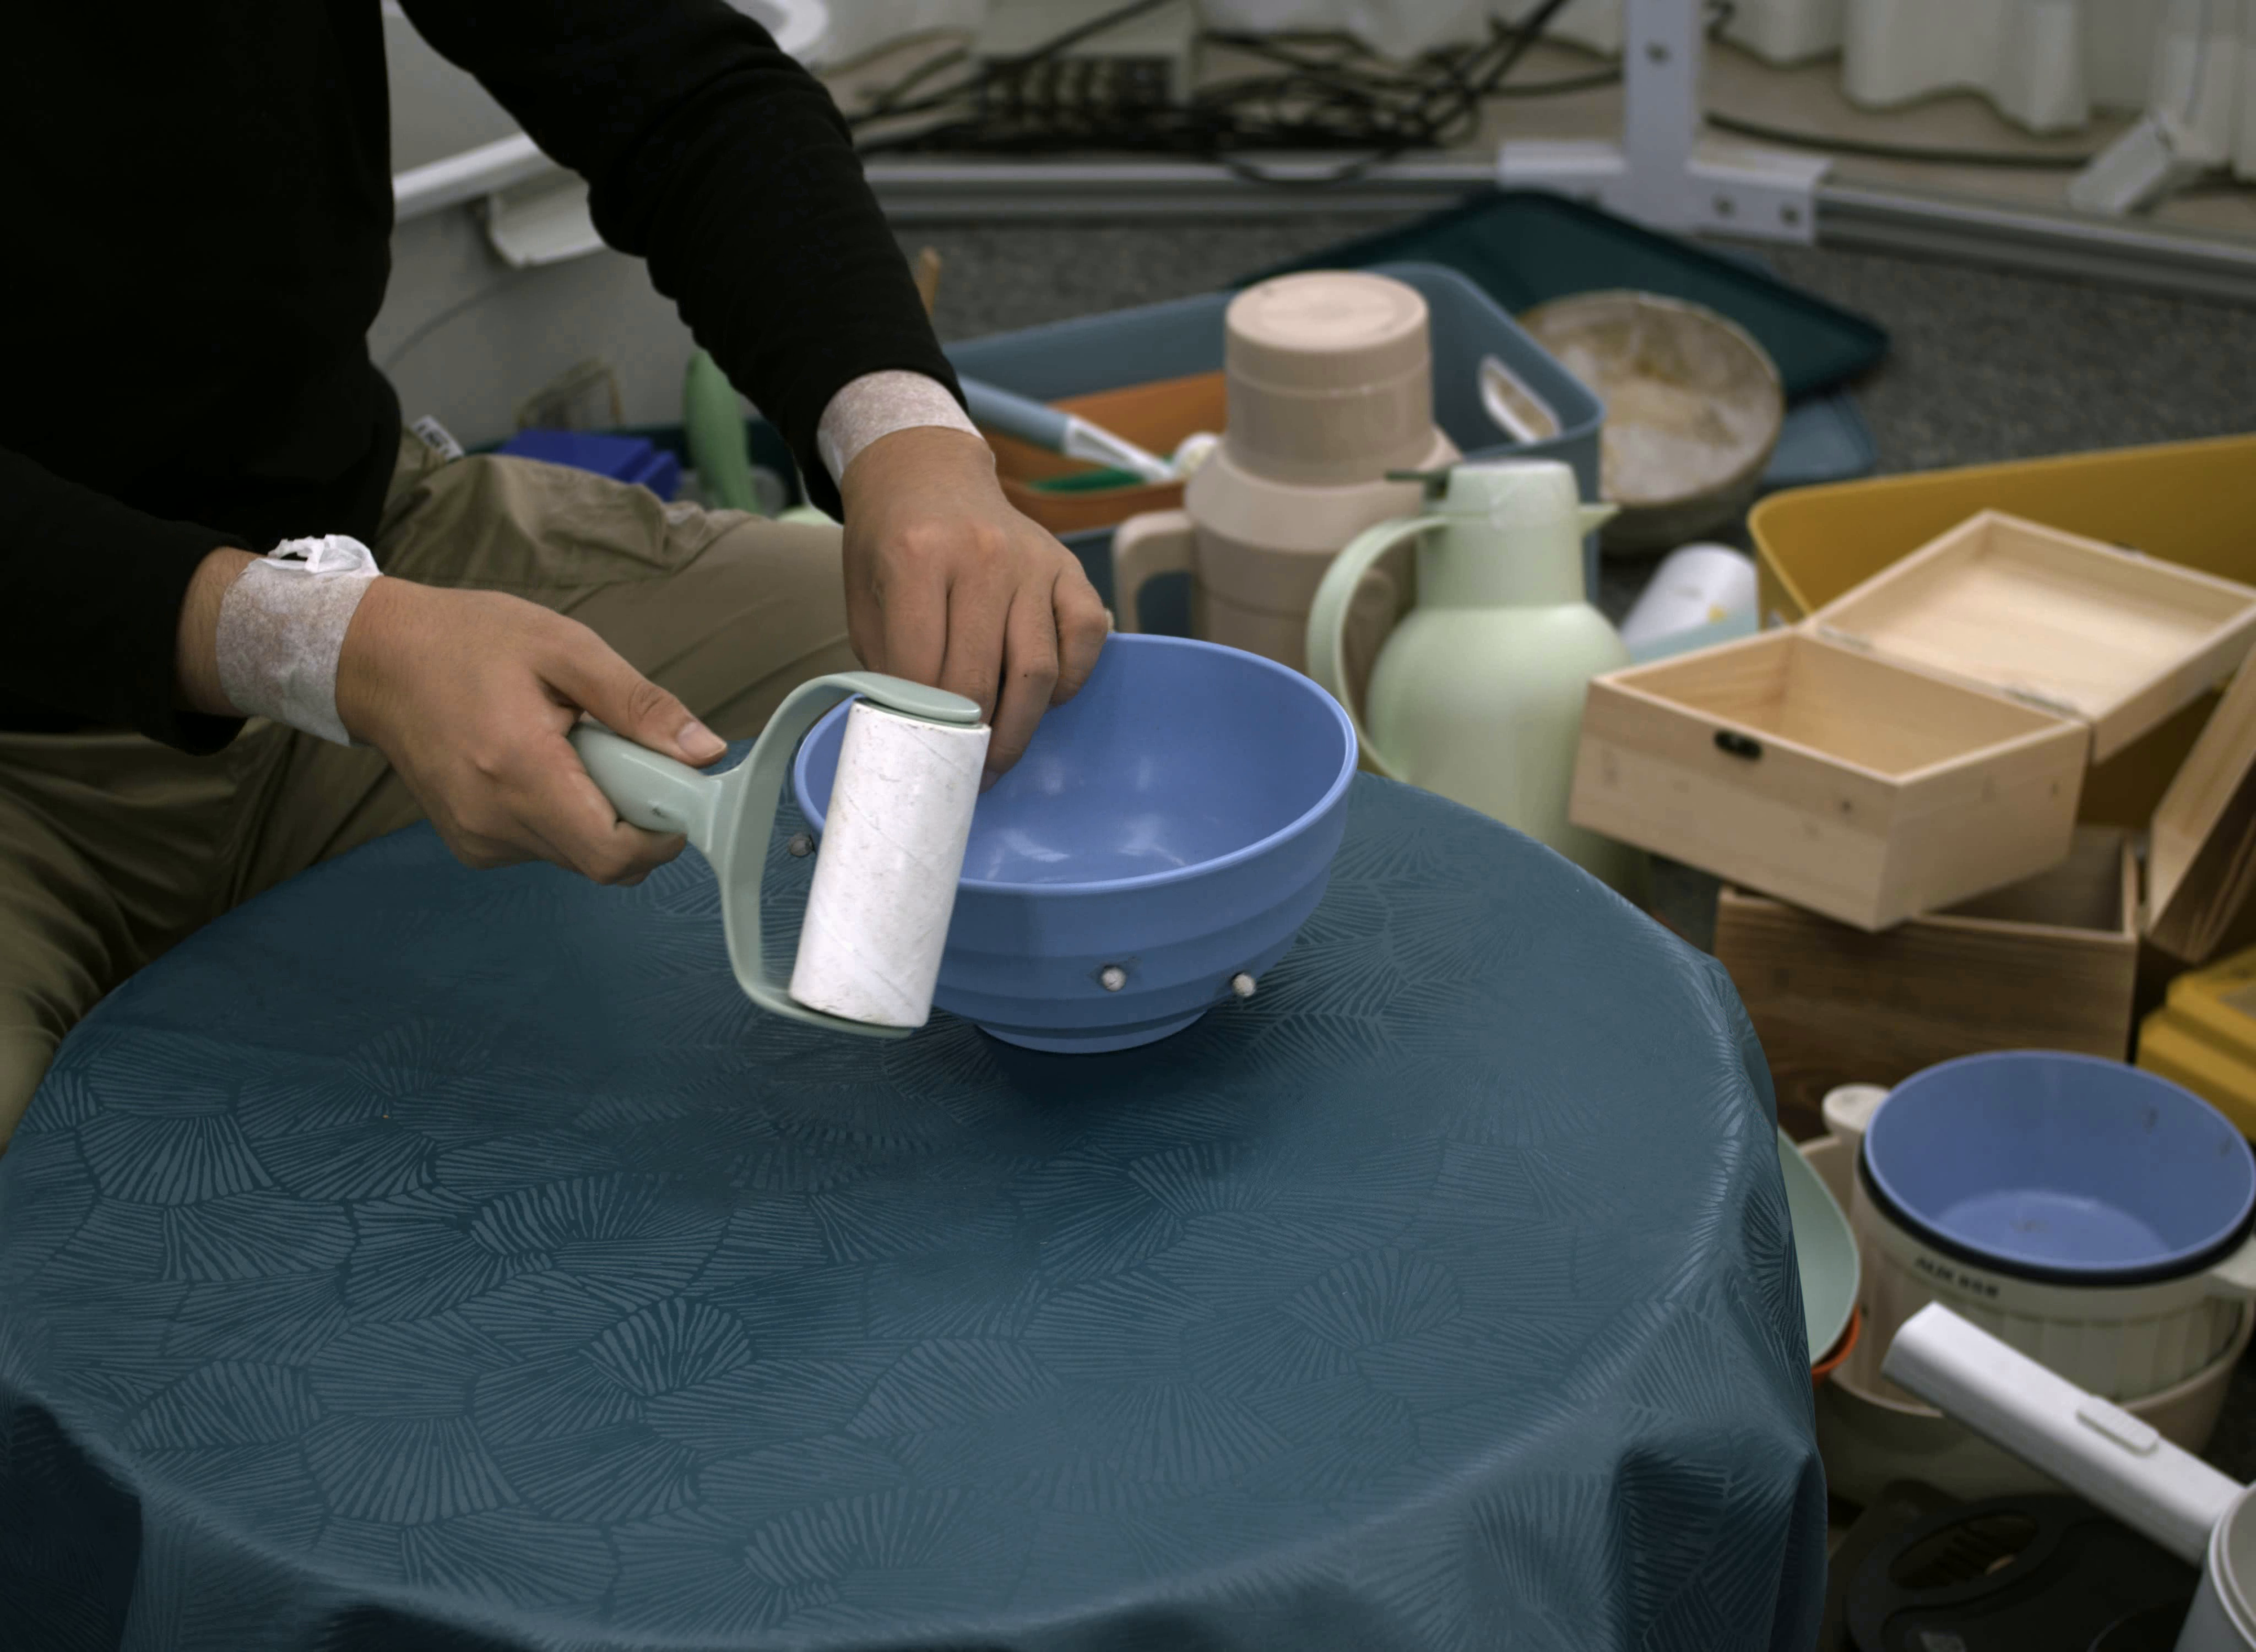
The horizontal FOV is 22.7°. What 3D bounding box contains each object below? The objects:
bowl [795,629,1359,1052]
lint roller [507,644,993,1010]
[{"bbox_3d":[-0.014,0.015,1.962,0.195,0.094,0.199,-3,27,2],"label":"bowl"},{"bbox_3d":[-0.135,-0.015,1.862,0.196,0.116,0.049,16,8,30],"label":"lint roller"}]
